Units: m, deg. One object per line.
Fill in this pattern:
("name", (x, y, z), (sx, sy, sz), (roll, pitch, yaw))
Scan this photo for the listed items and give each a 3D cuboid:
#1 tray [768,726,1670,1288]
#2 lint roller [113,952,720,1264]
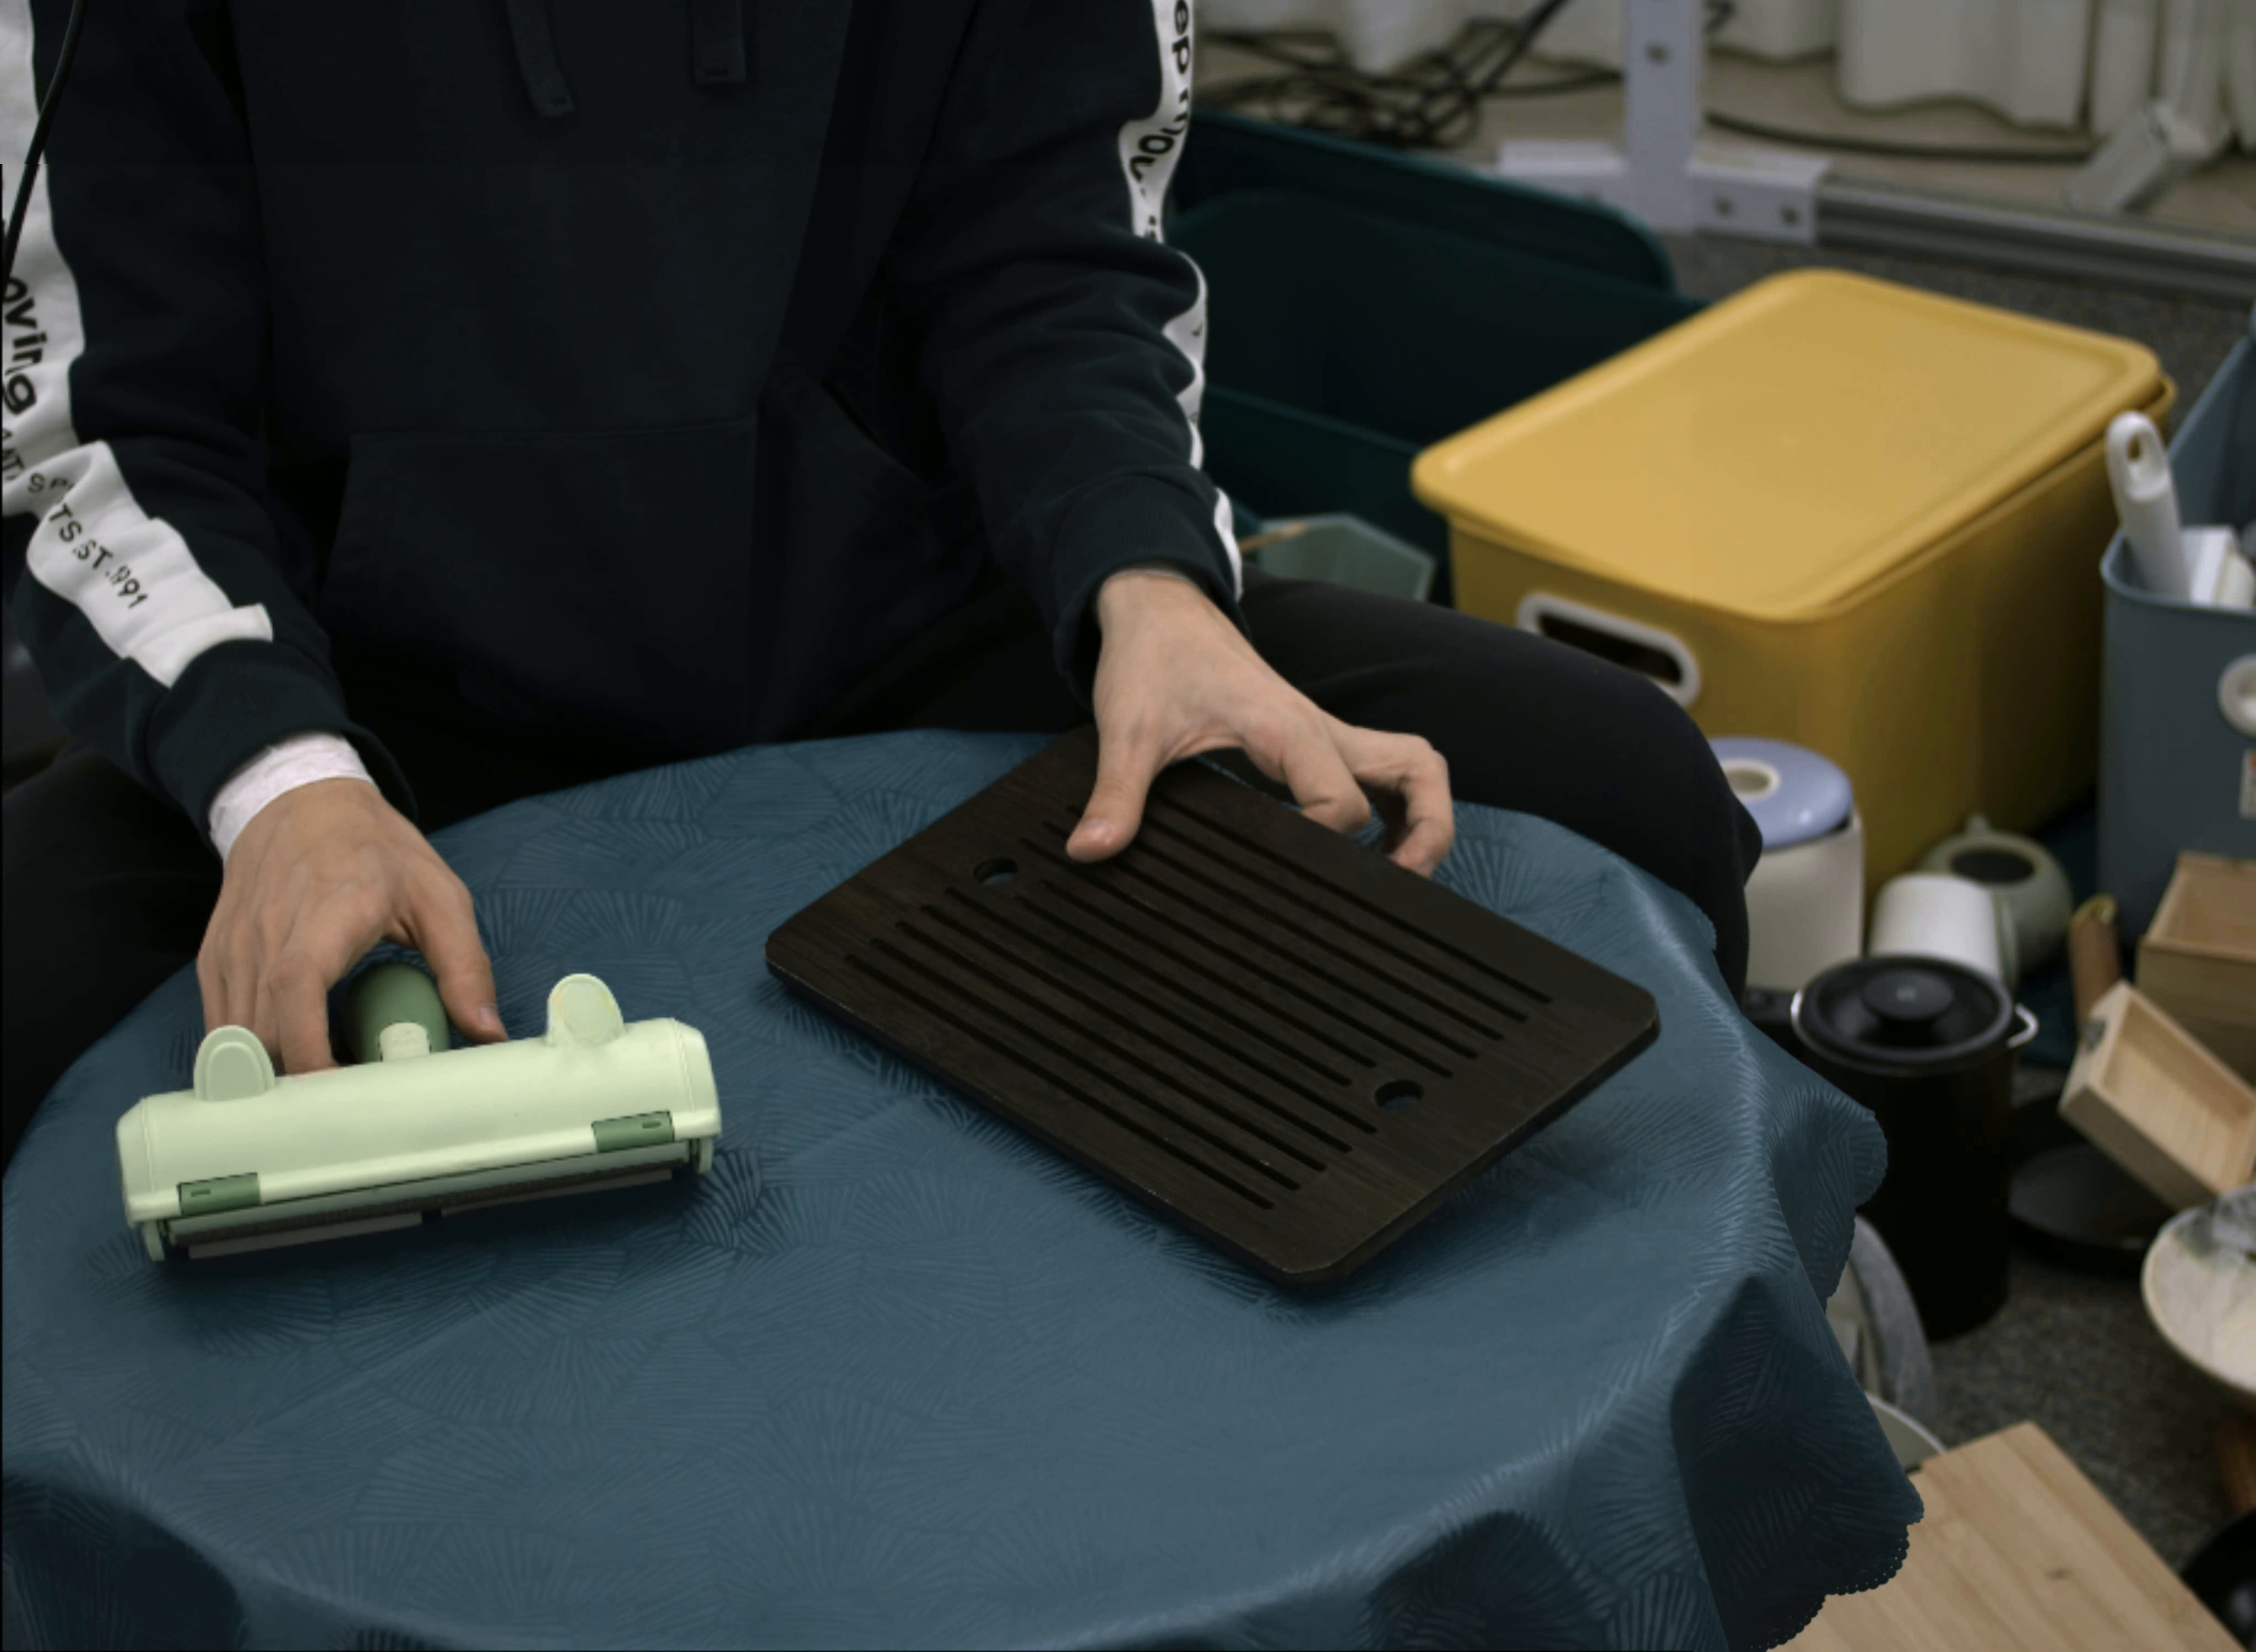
("tray", (0.027, 0.058, 1.929), (0.172, 0.018, 0.306), (-33, 38, -27))
("lint roller", (-0.246, 0.070, 1.897), (0.198, 0.081, 0.185), (-8, 31, -10))
